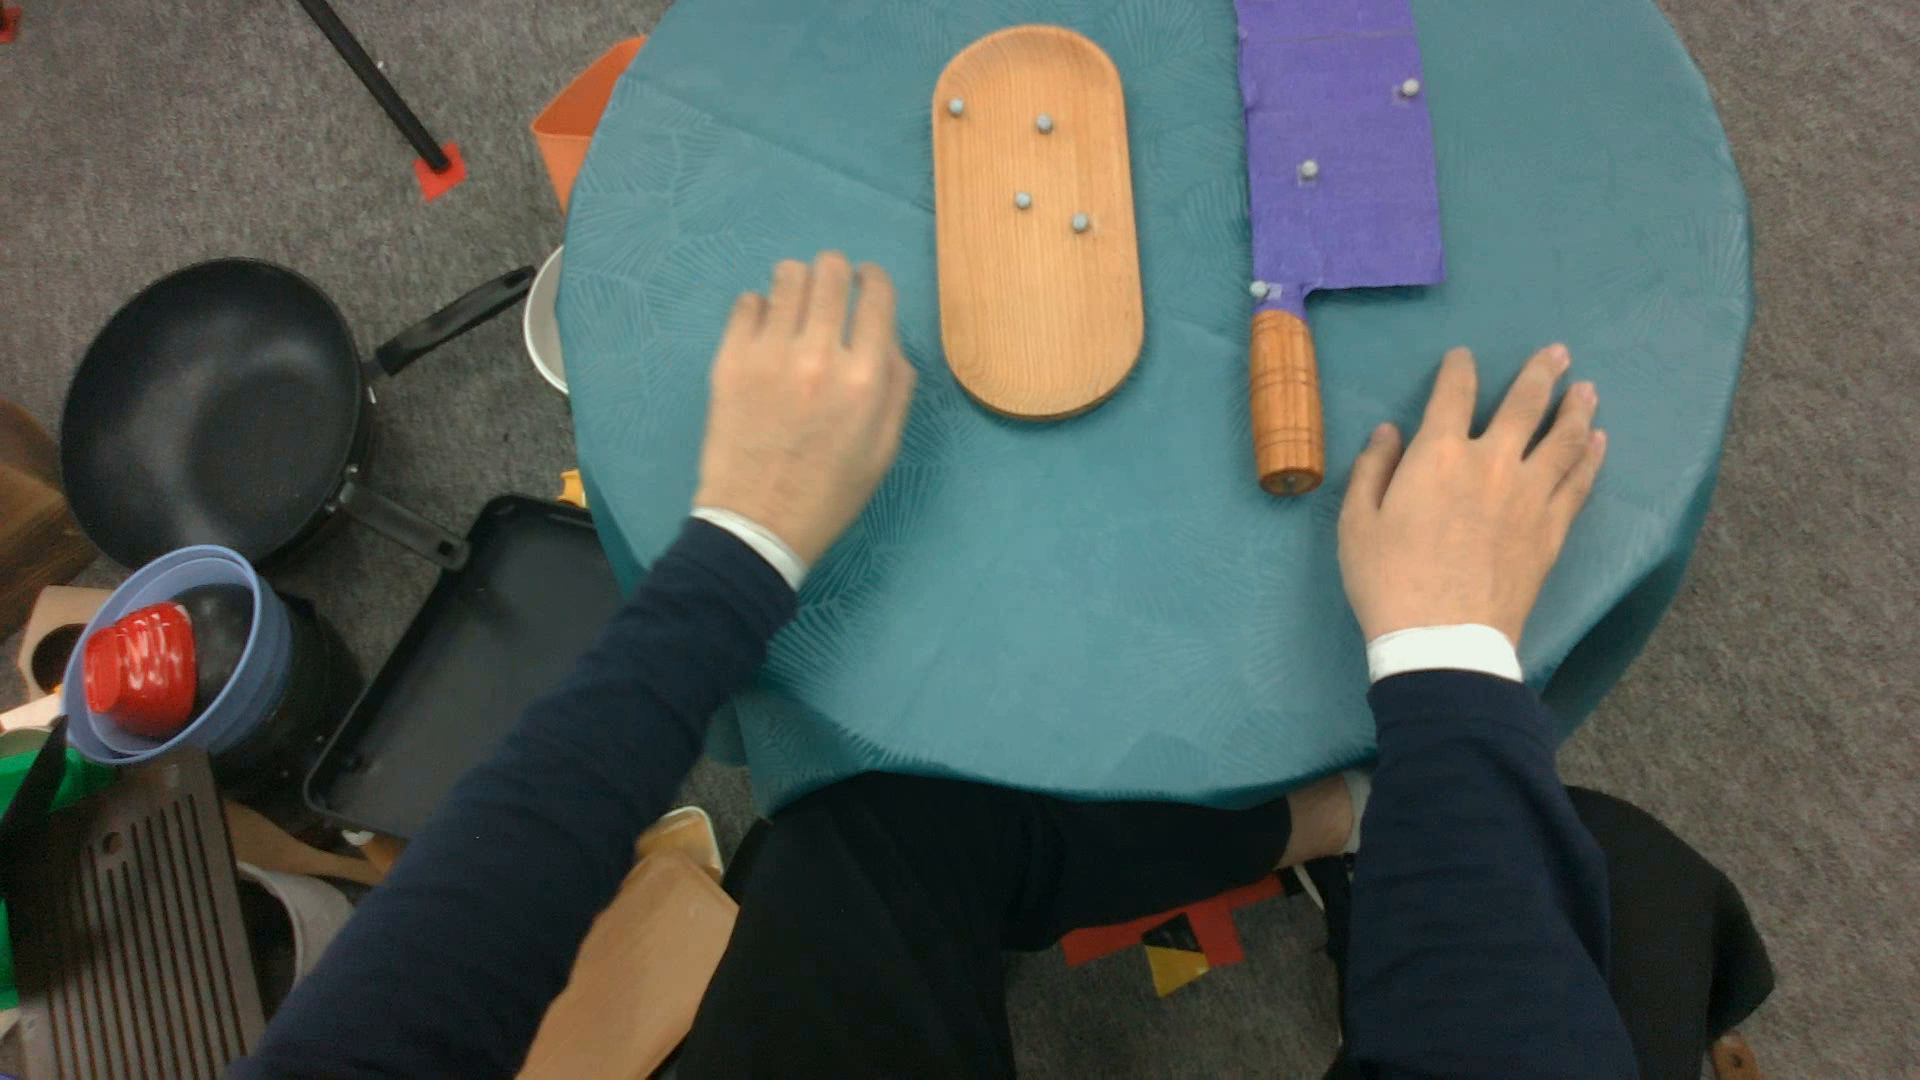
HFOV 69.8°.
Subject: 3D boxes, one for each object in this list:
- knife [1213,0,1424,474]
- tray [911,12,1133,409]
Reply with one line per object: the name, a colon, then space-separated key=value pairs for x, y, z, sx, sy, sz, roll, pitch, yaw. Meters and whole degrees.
knife: x=0.178 y=-0.183 z=0.682 sx=0.104 sy=0.032 sz=0.316 roll=-3 pitch=69 yaw=6
tray: x=0.030 y=-0.172 z=0.702 sx=0.101 sy=0.020 sz=0.232 roll=-7 pitch=71 yaw=5
